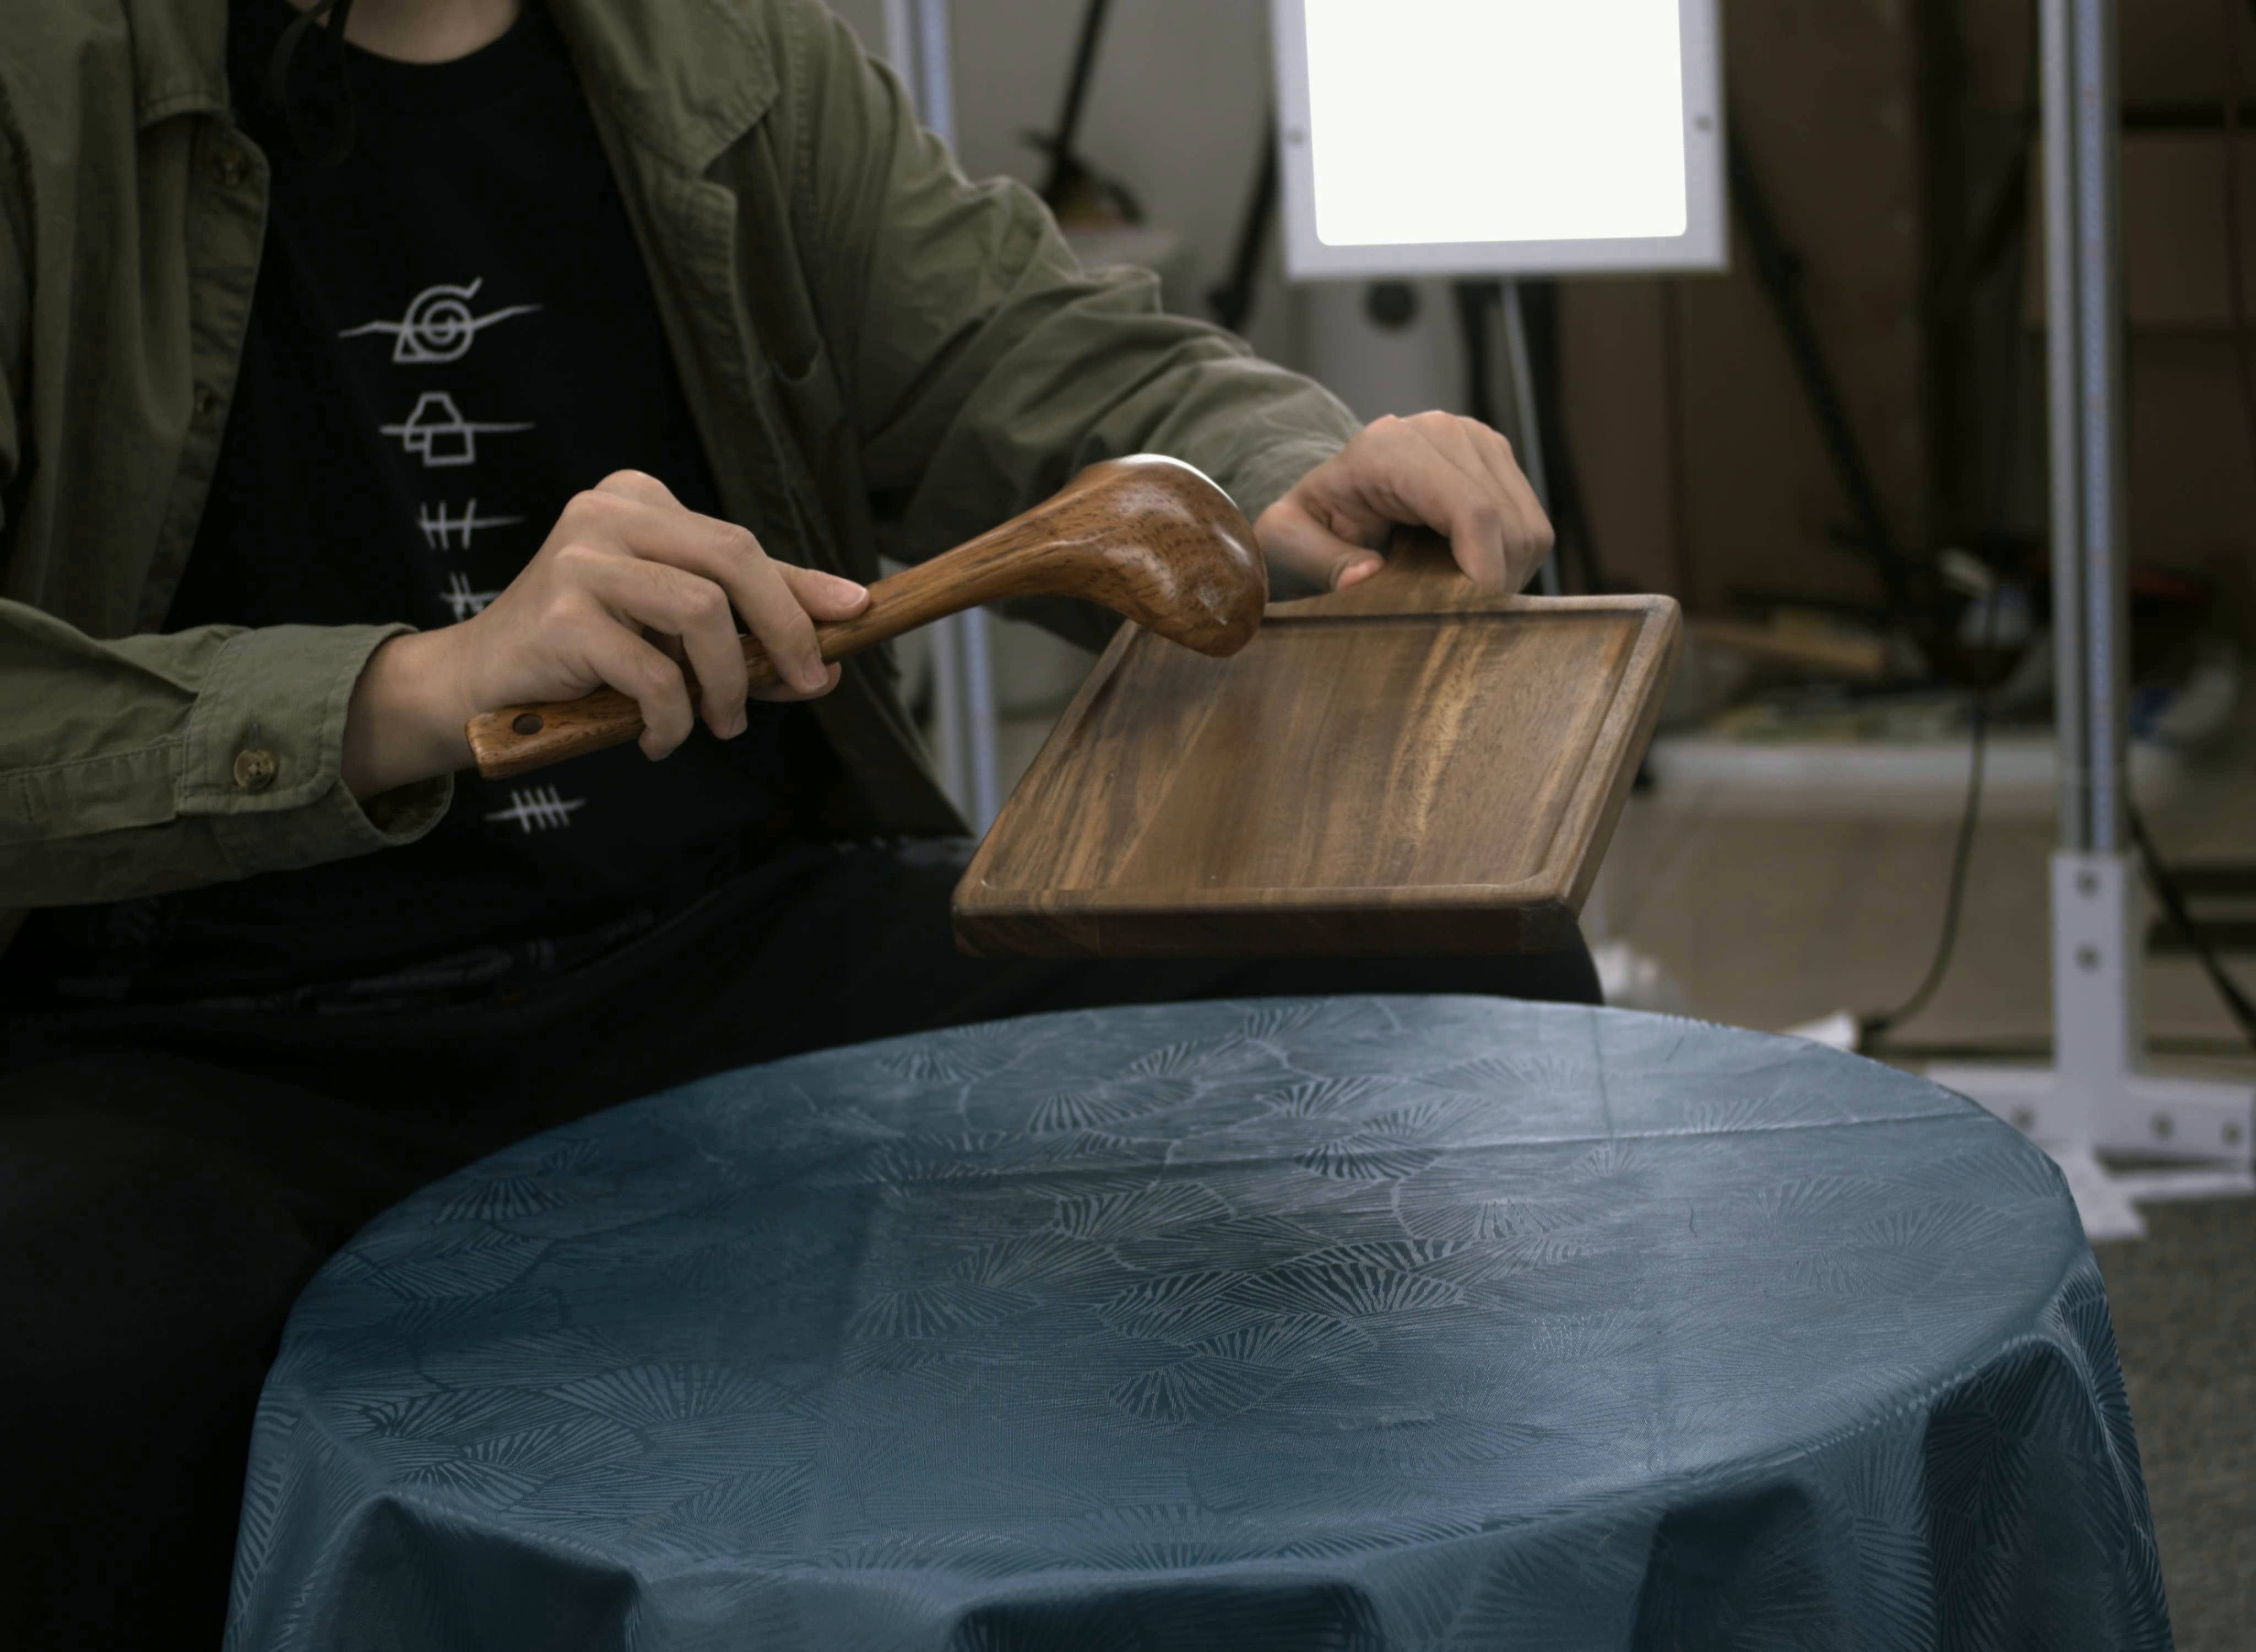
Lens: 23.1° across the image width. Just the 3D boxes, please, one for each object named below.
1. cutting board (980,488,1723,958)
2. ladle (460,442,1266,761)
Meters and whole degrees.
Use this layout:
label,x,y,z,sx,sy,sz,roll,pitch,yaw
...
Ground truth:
label,x,y,z,sx,sy,sz,roll,pitch,yaw
cutting board,0.090,-0.040,1.814,0.203,0.023,0.347,-1,24,18
ladle,-0.086,-0.061,1.842,0.273,0.076,0.082,-20,52,-1
